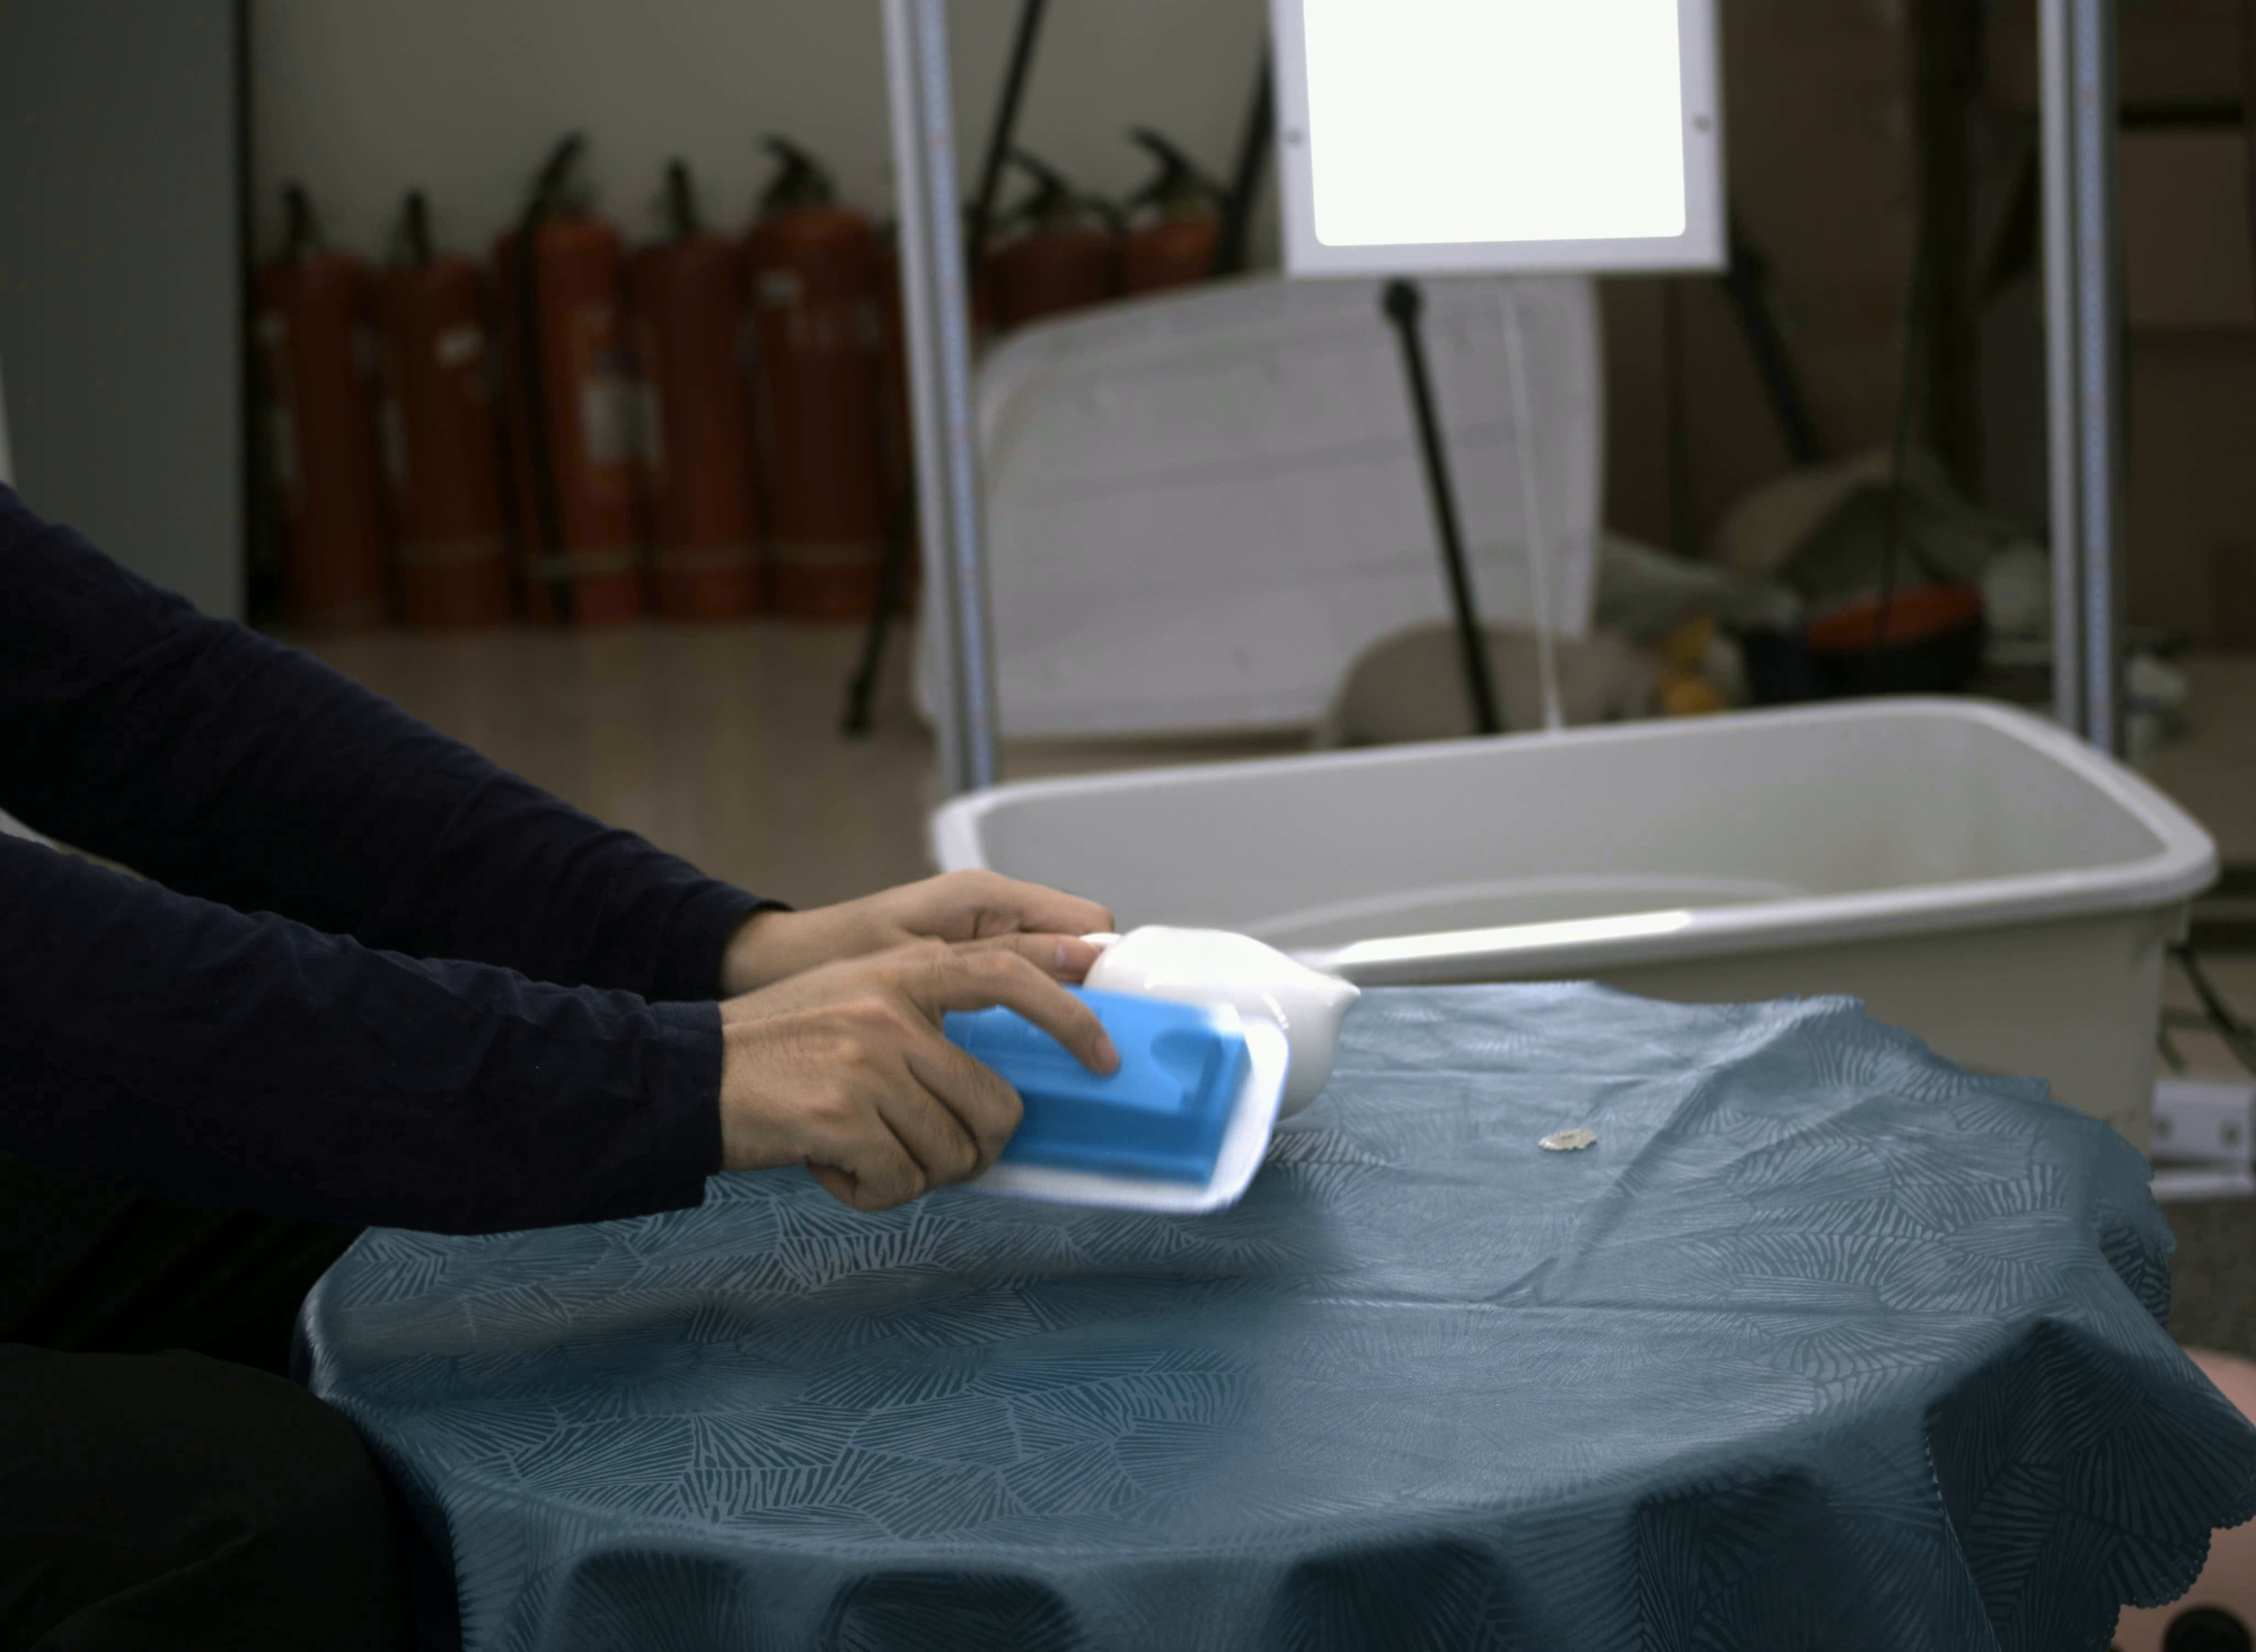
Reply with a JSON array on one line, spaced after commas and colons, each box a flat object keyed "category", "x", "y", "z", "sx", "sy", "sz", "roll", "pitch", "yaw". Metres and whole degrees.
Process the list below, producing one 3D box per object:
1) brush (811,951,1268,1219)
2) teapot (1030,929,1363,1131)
[{"category": "brush", "x": -0.030, "y": 0.081, "z": 1.798, "sx": 0.146, "sy": 0.056, "sz": 0.083, "roll": 10, "pitch": 49, "yaw": 21}, {"category": "teapot", "x": 0.018, "y": 0.070, "z": 1.929, "sx": 0.129, "sy": 0.056, "sz": 0.092, "roll": 11, "pitch": -12, "yaw": 21}]
